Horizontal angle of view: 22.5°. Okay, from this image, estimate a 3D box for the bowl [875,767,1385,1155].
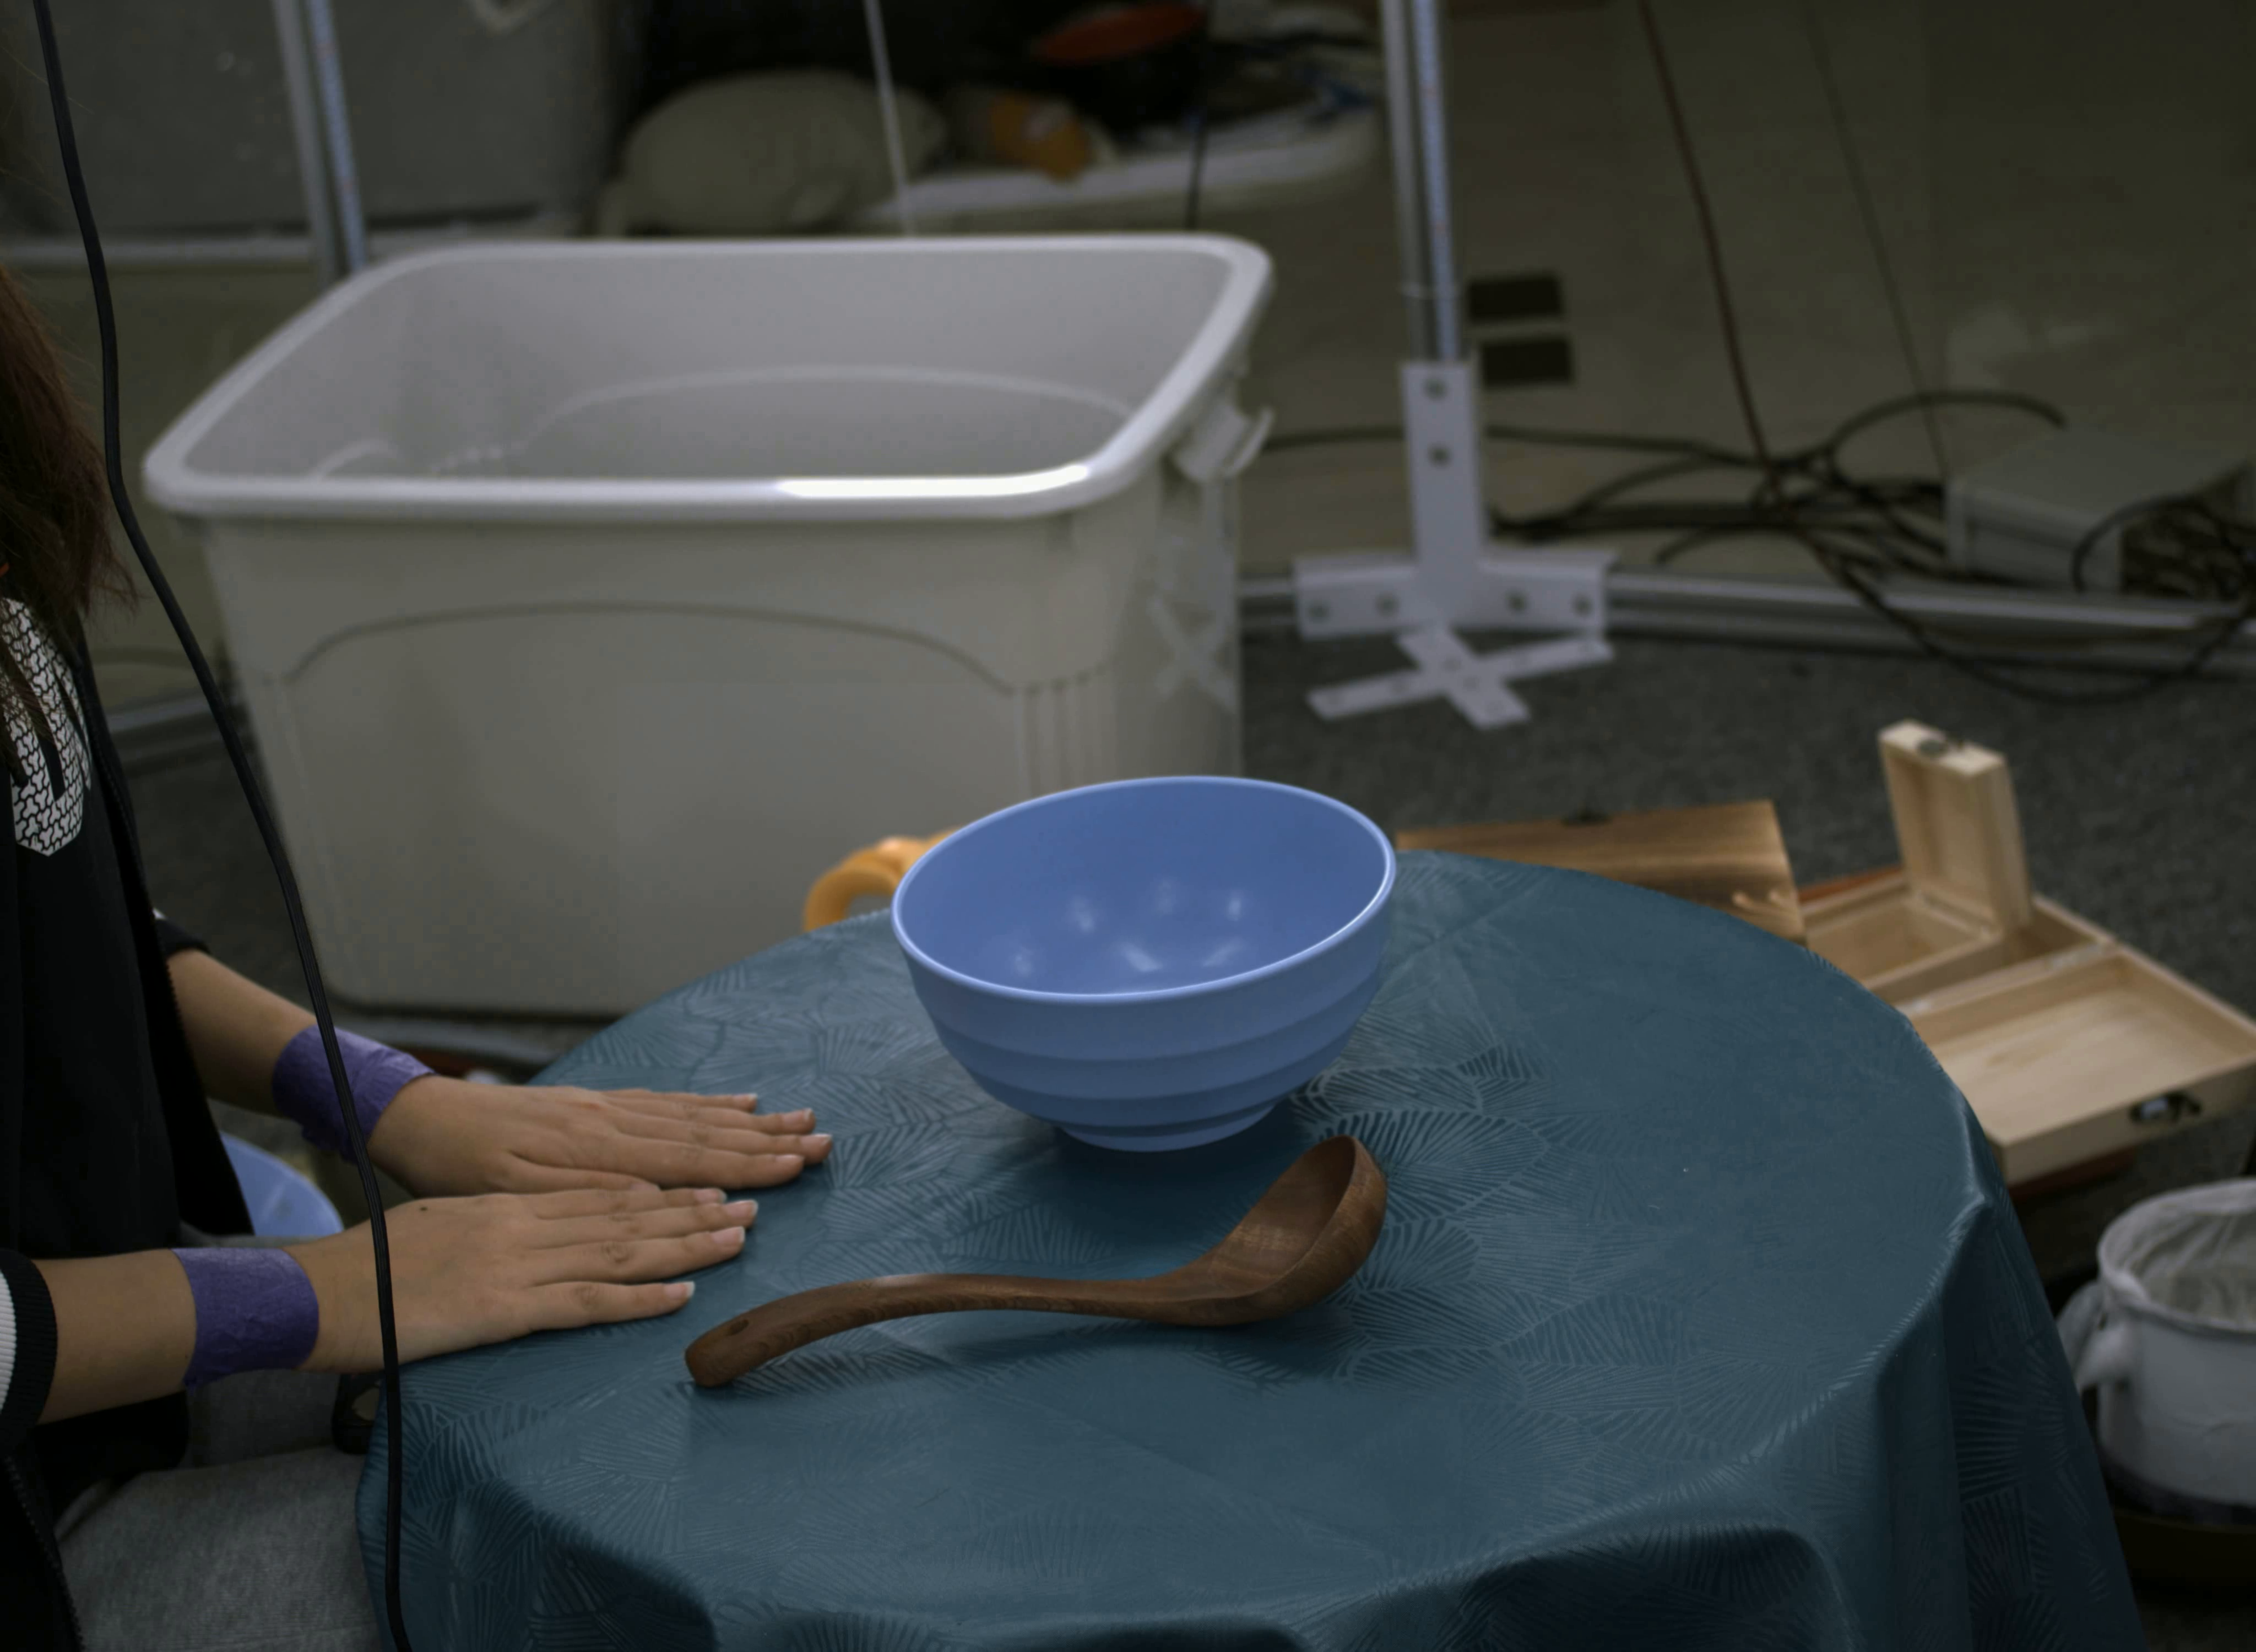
[{"bbox_3d":[0.002,0.063,2.197,0.196,0.097,0.193,-2,30,1],"label":"bowl"}]

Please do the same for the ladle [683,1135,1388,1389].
[{"bbox_3d":[-0.035,0.157,2.042,0.260,0.066,0.075,-6,19,1],"label":"ladle"}]
